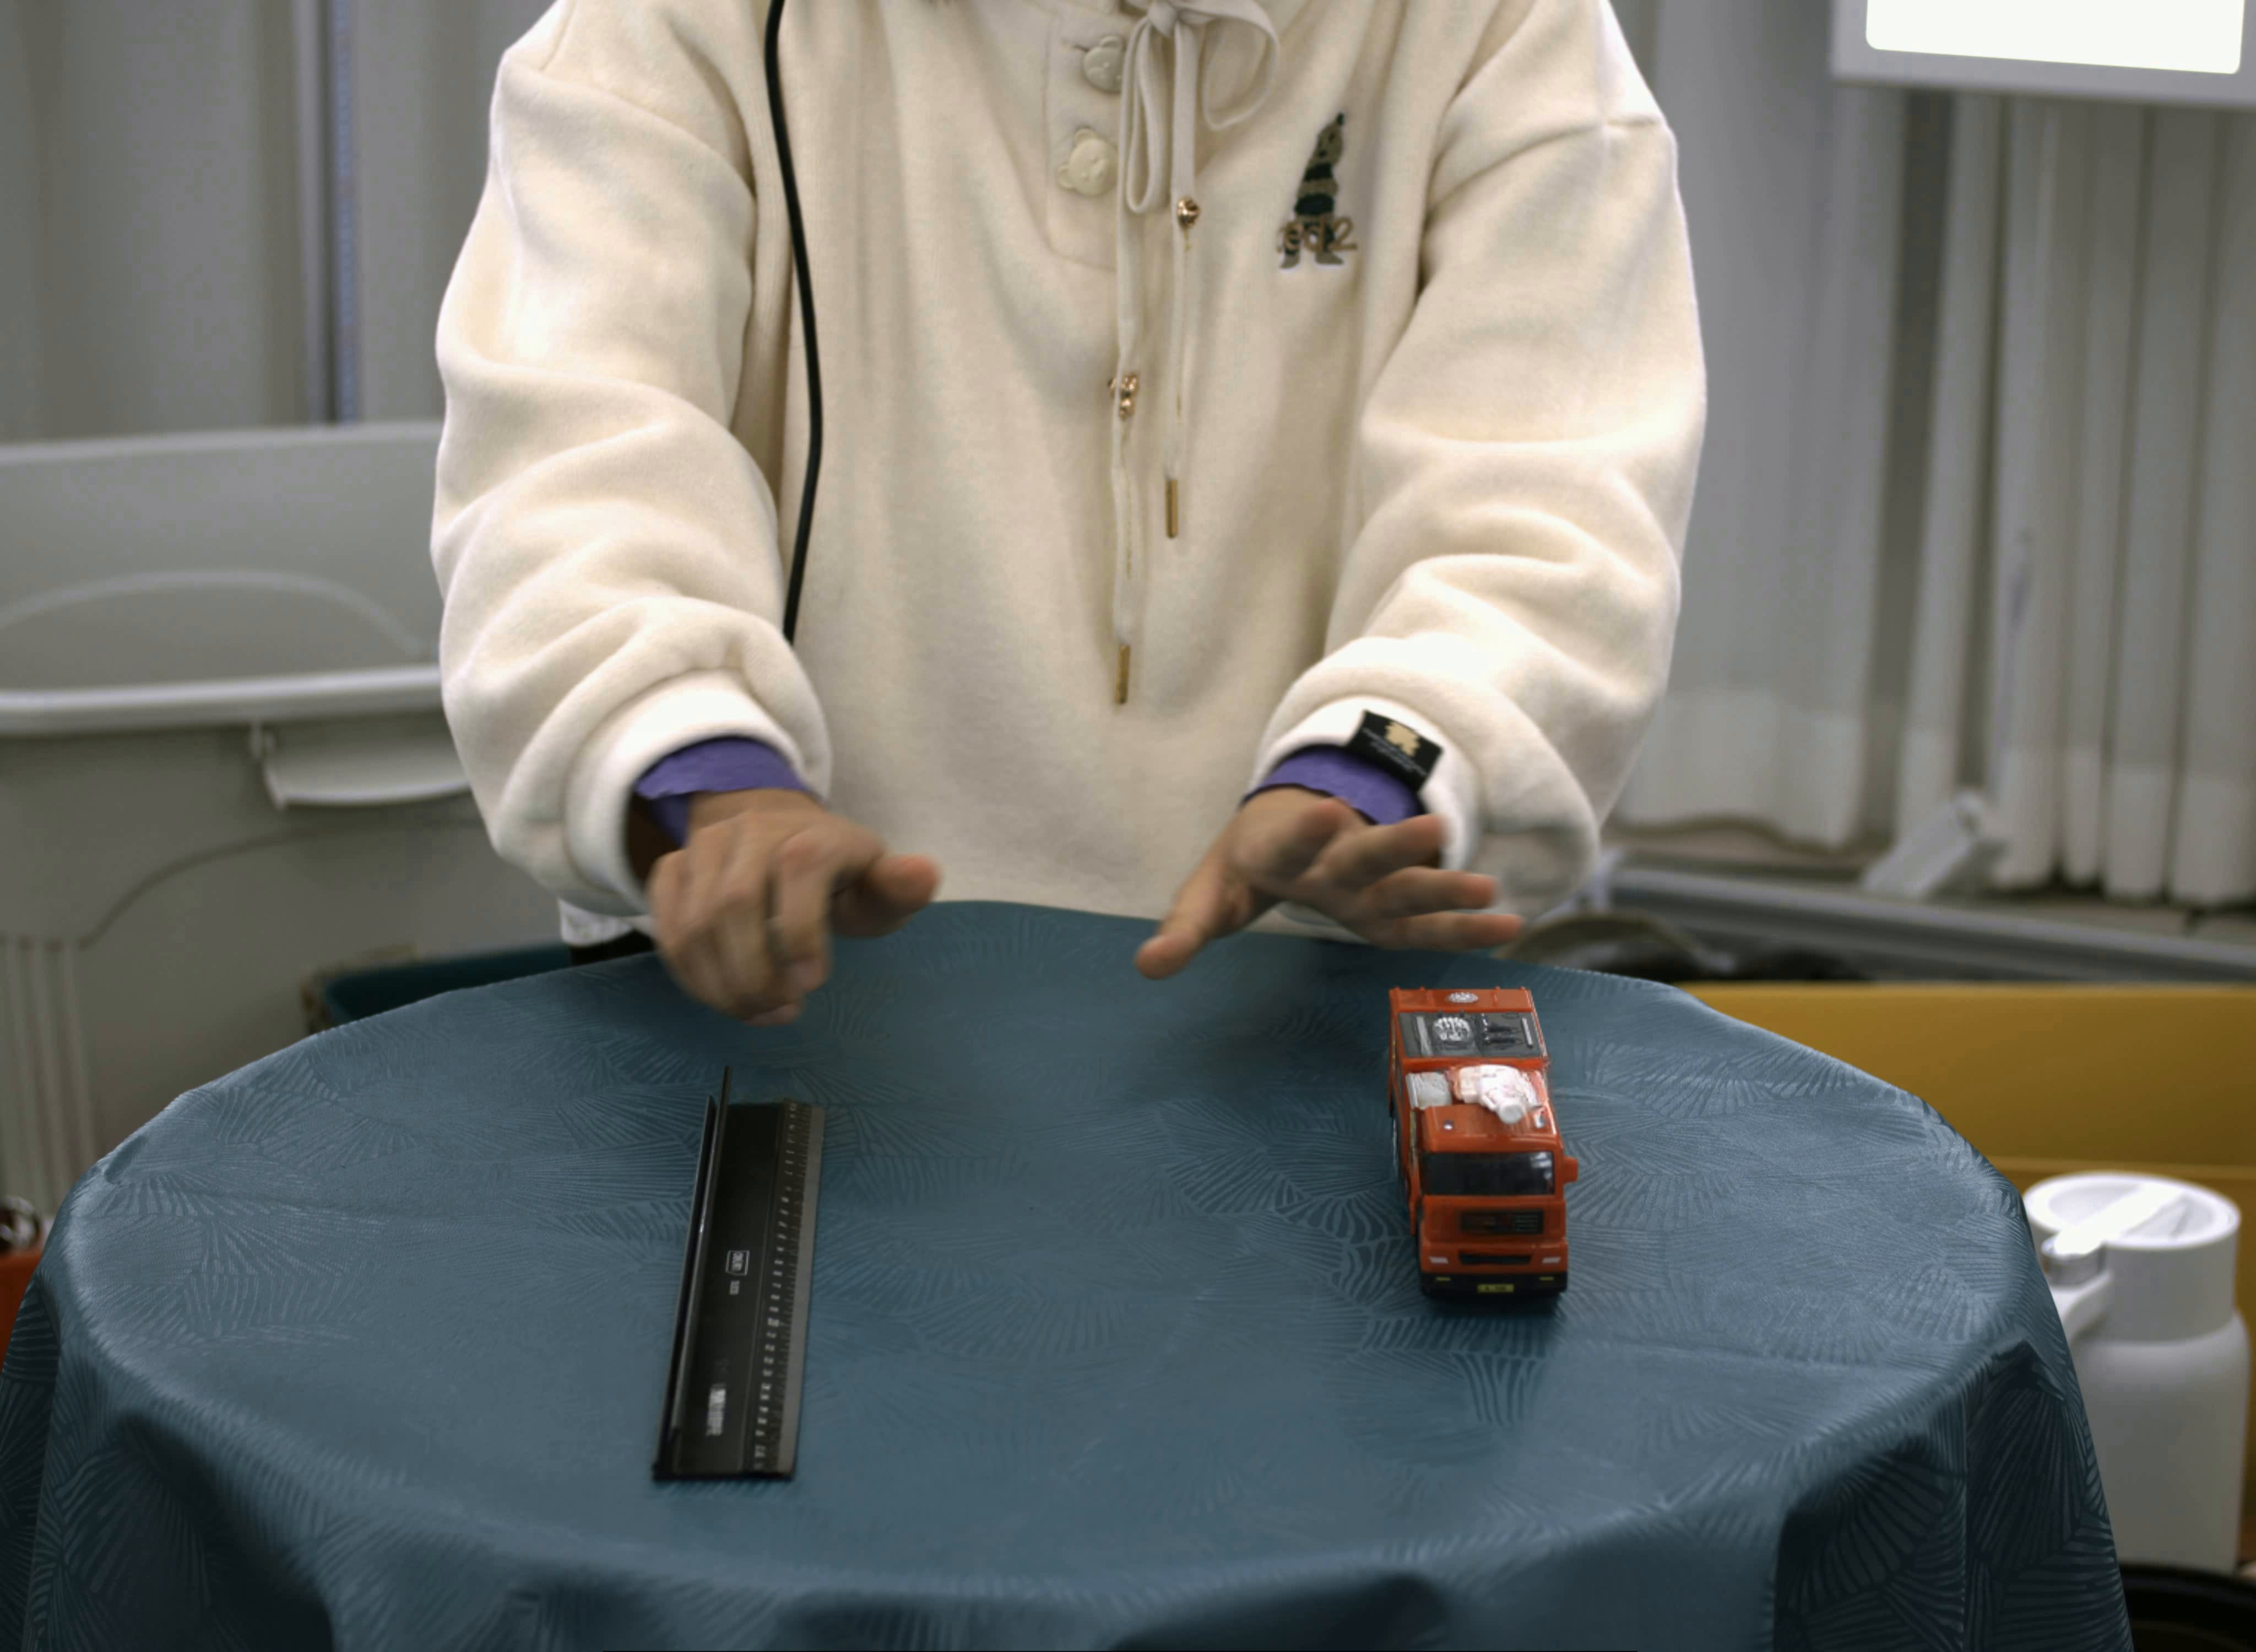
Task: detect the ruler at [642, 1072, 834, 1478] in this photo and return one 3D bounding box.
[{"bbox_3d":[-0.112,0.126,1.539,0.039,0.017,0.311,4,15,-2],"label":"ruler"}]

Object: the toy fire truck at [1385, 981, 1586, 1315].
[{"bbox_3d":[0.106,0.093,1.583,0.054,0.071,0.167,0,14,-1],"label":"toy fire truck"}]
